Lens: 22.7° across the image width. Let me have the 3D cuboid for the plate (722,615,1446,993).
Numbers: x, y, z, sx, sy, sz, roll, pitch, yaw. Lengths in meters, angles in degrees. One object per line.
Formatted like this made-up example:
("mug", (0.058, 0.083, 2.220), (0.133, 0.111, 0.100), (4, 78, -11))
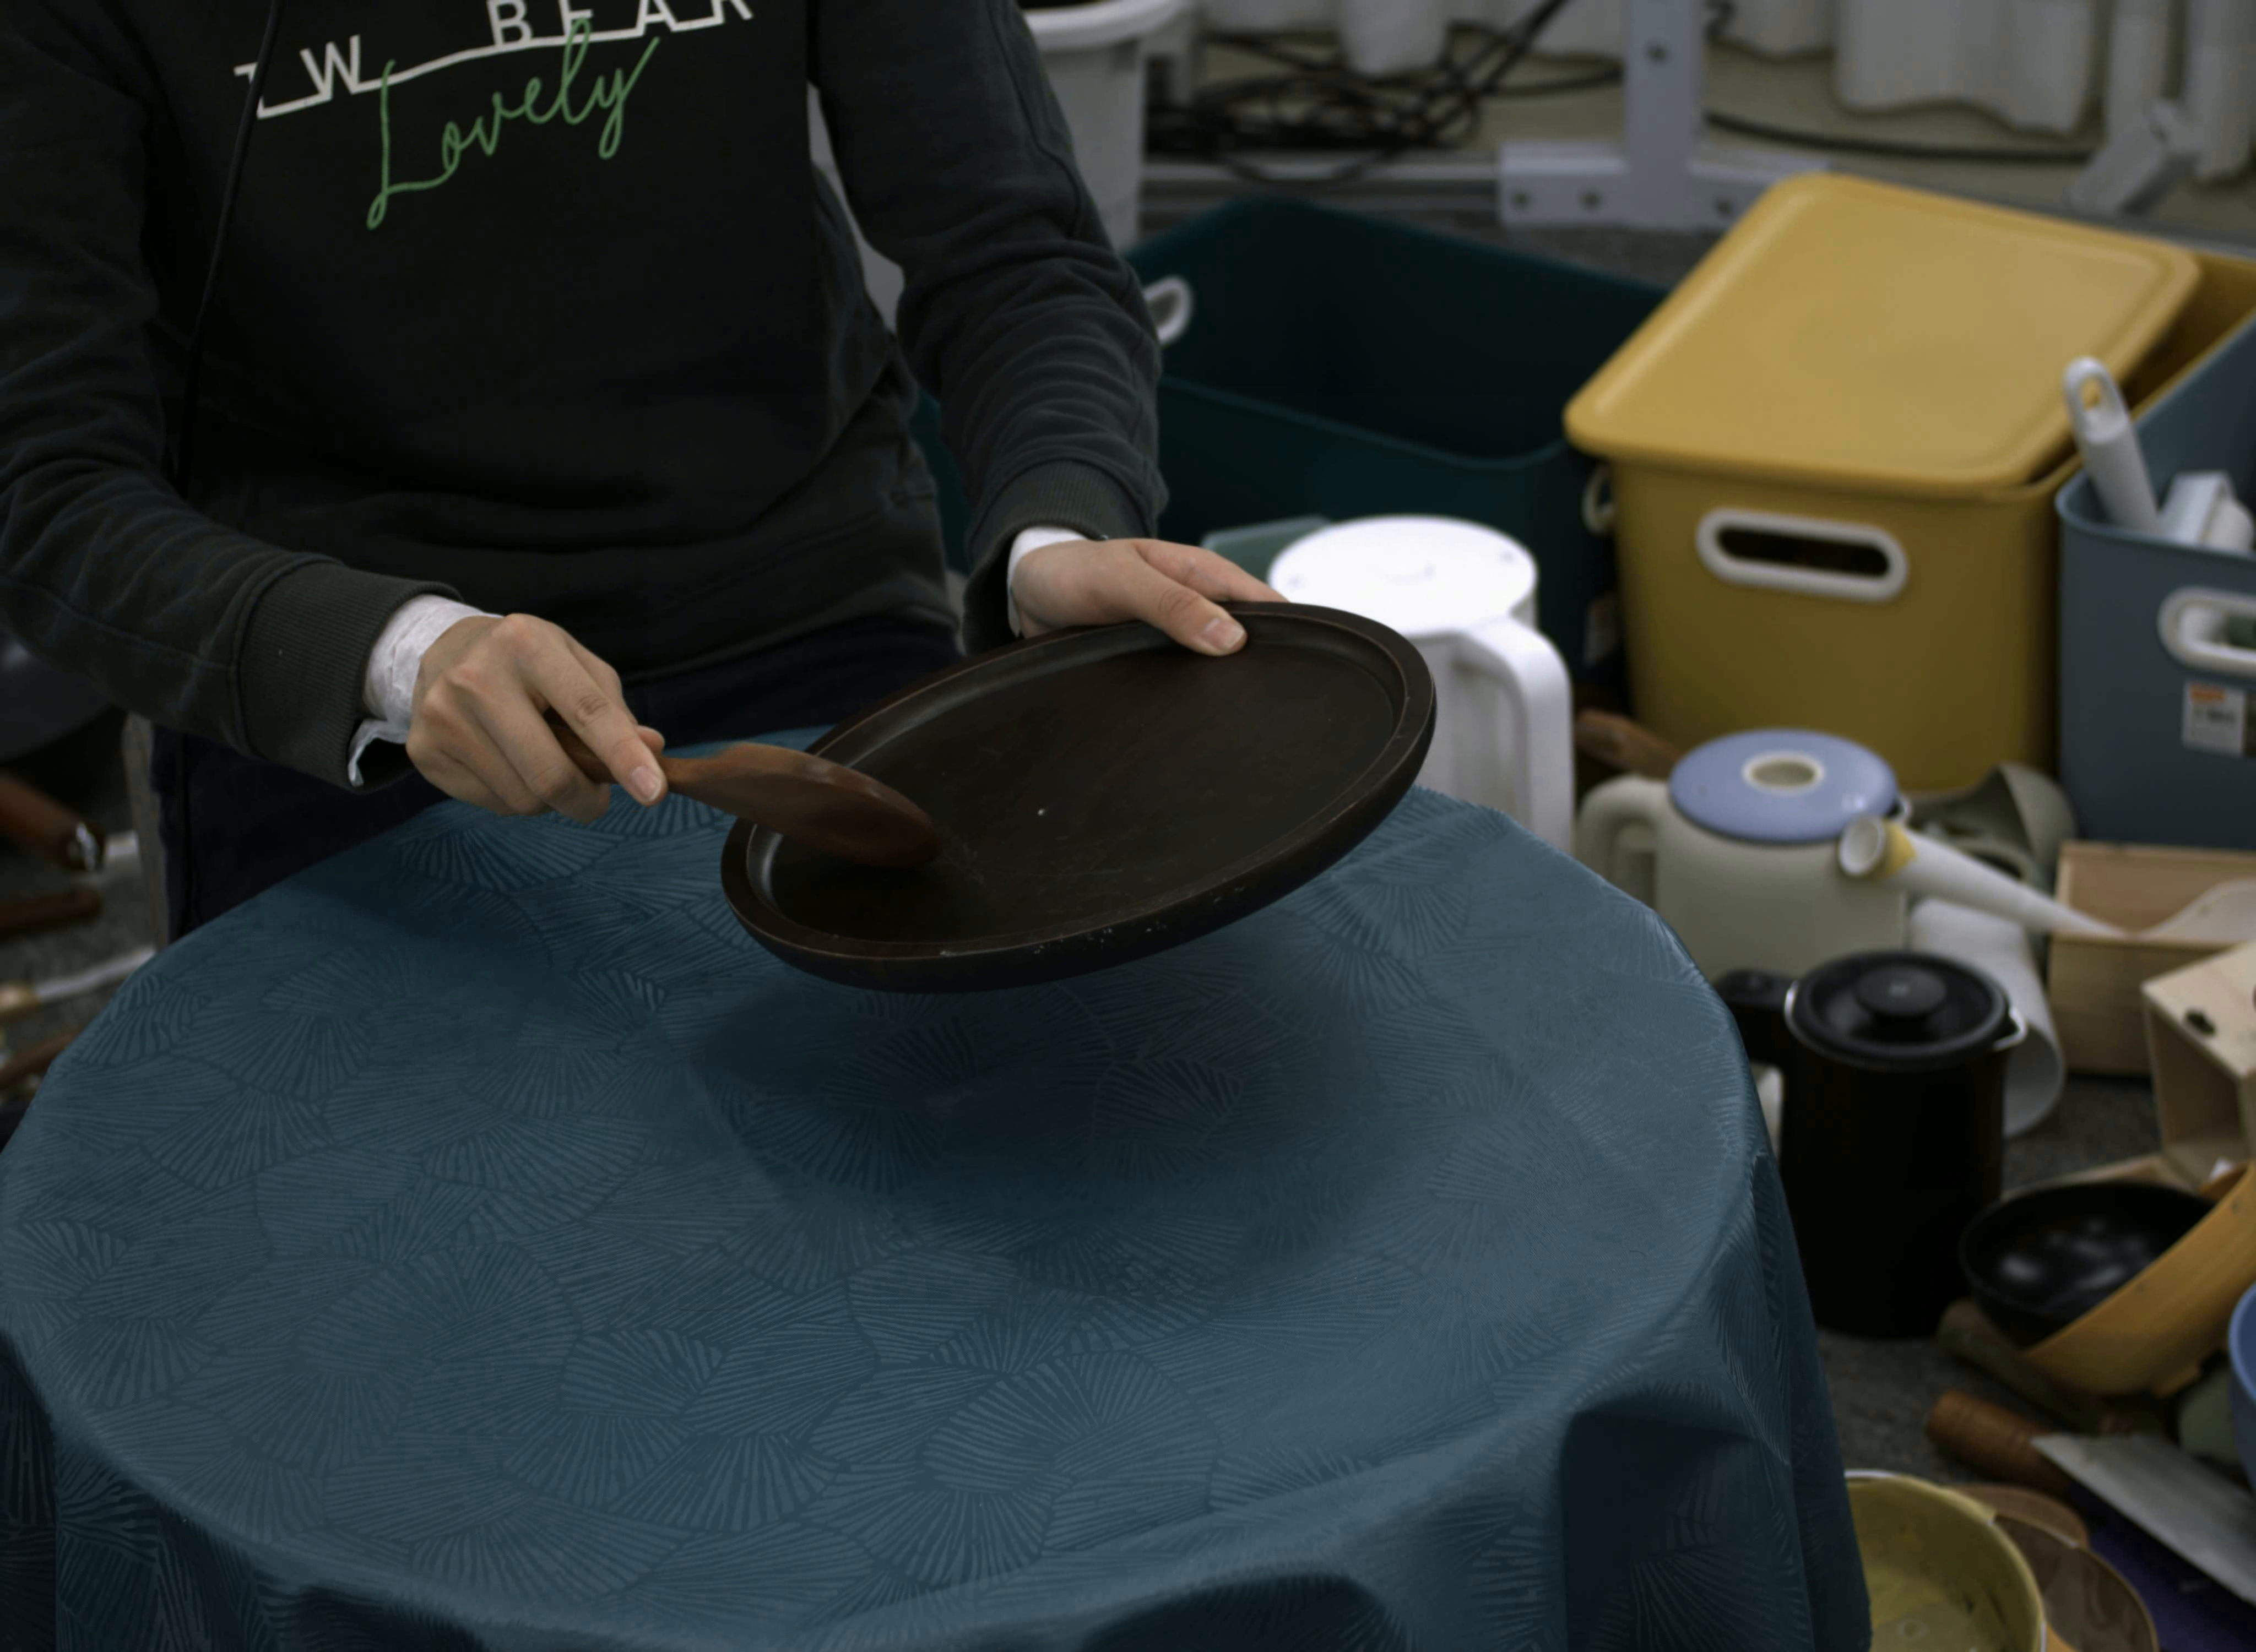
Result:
("plate", (-0.014, -0.010, 1.913), (0.253, 0.029, 0.258), (-12, 25, 6))

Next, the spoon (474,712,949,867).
("spoon", (-0.148, -0.014, 1.923), (0.214, 0.075, 0.017), (12, 72, 41))
